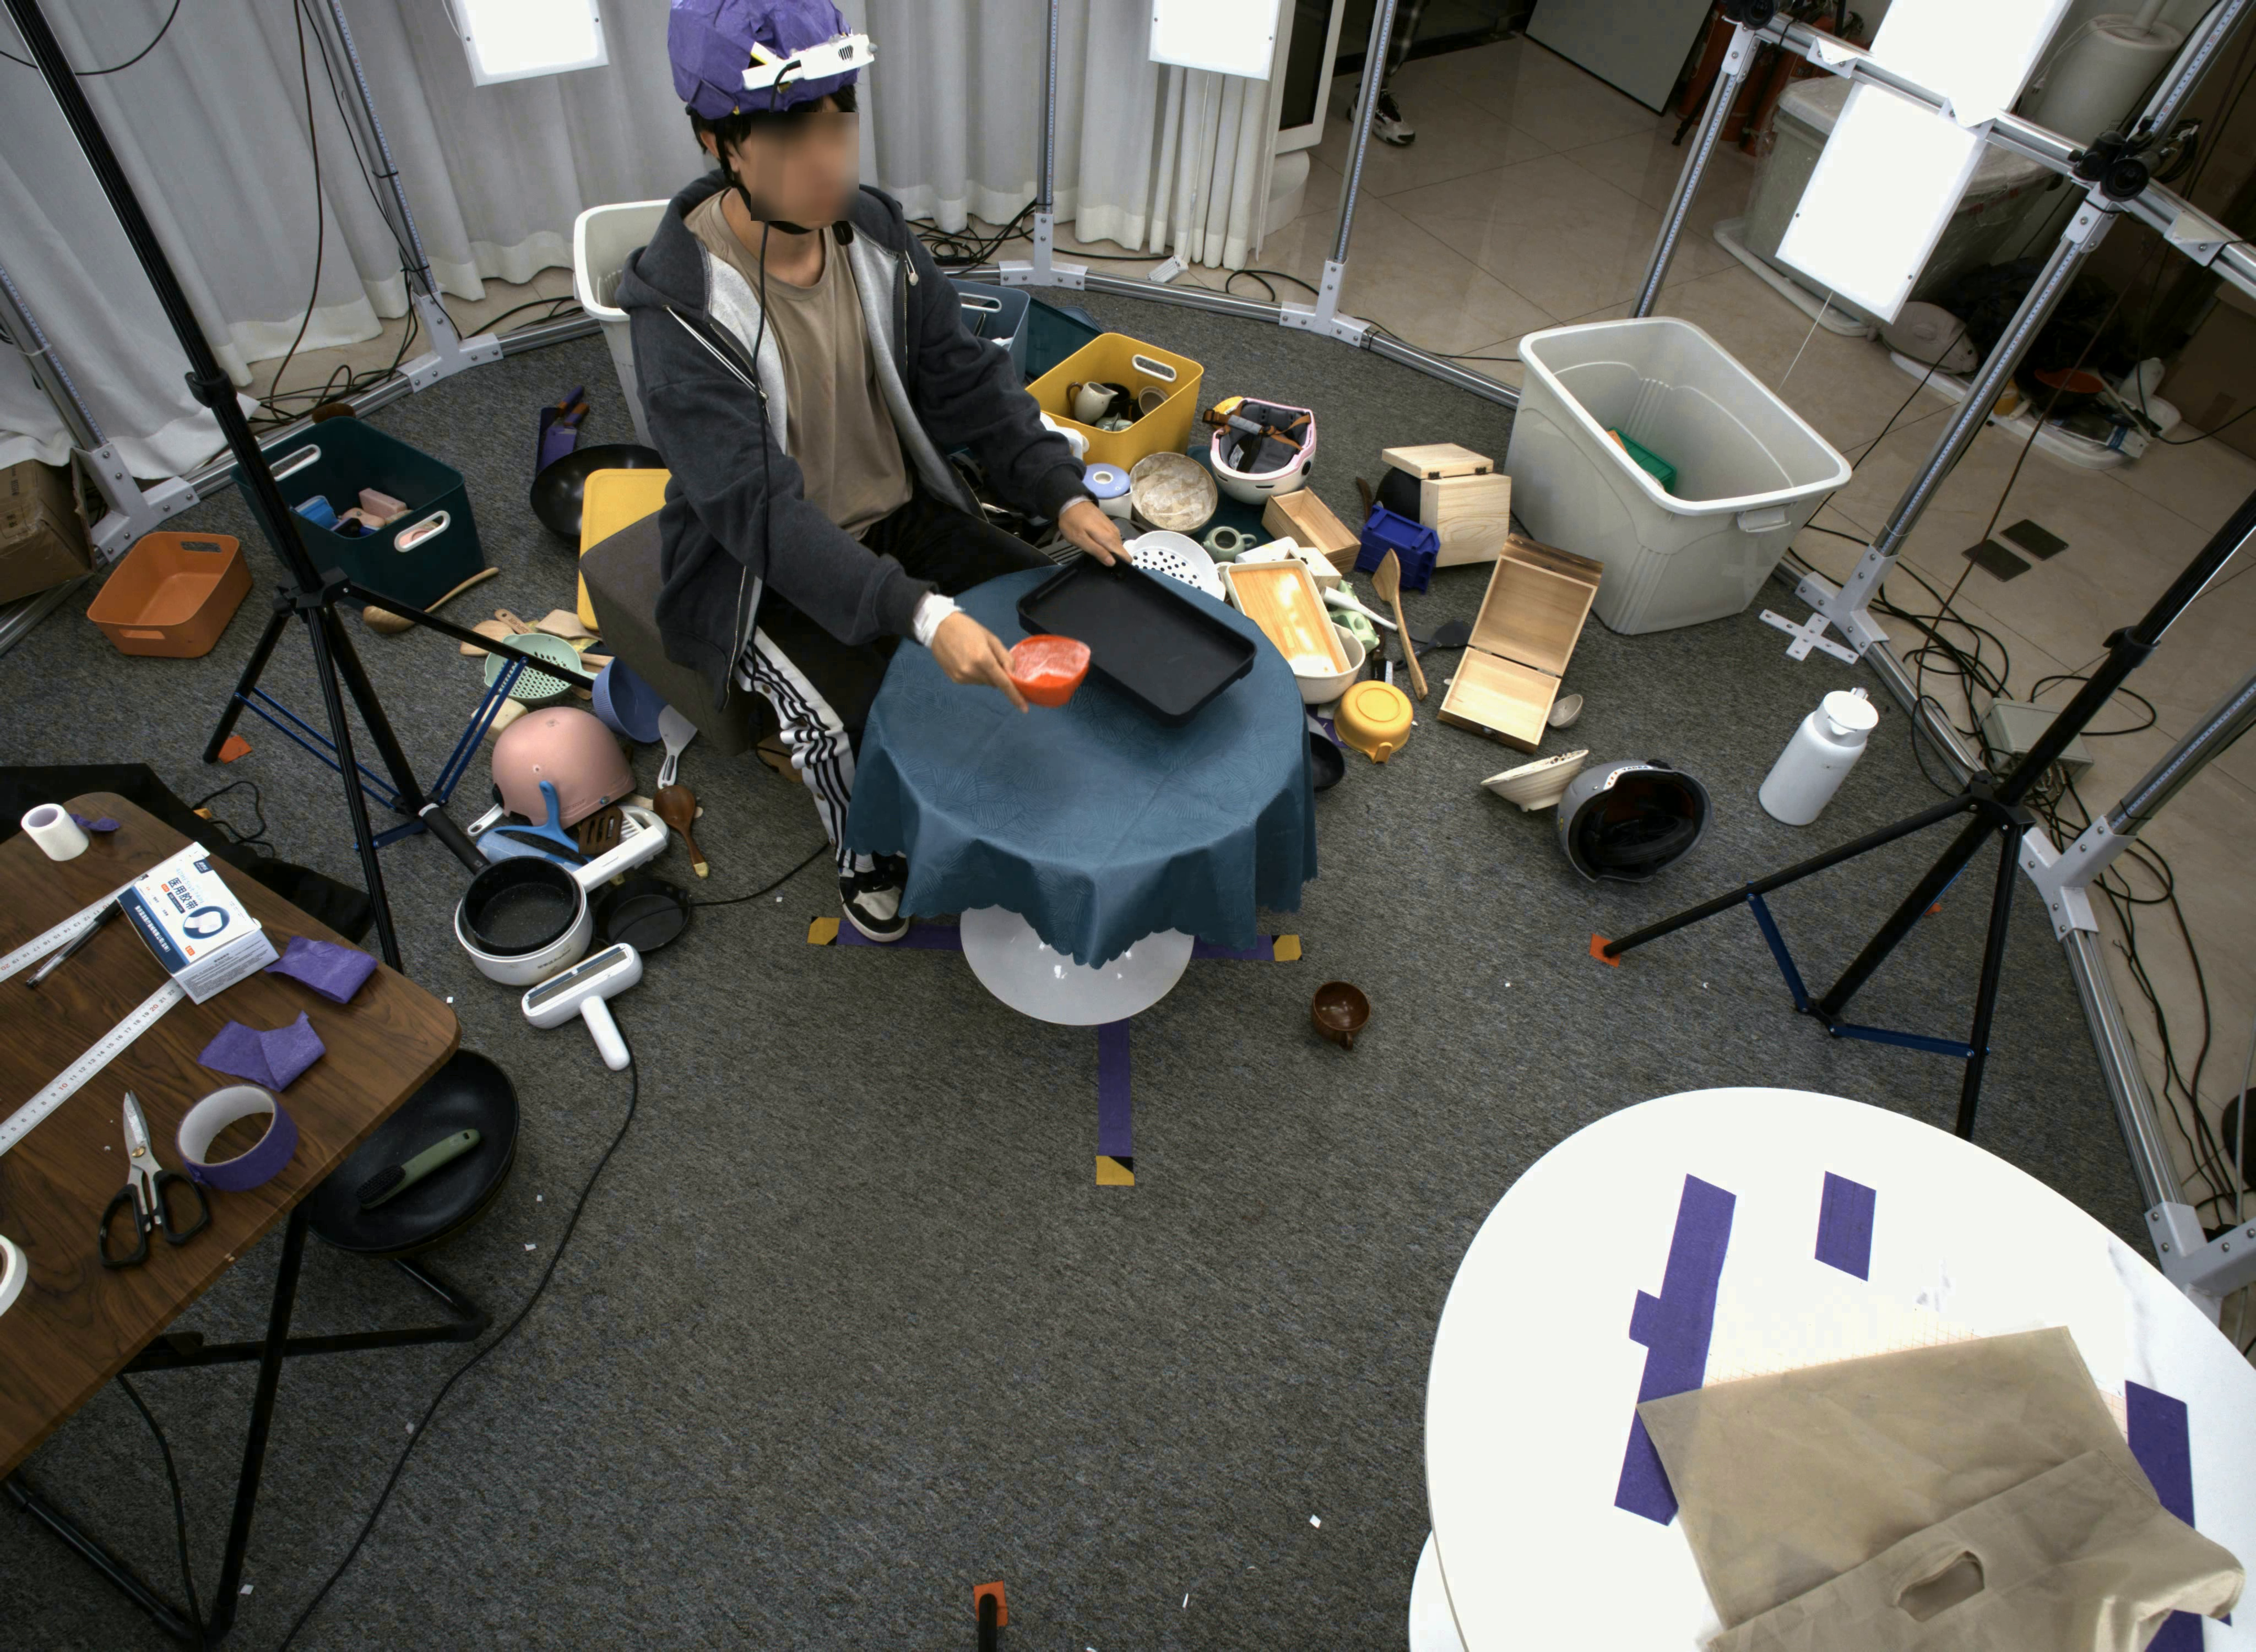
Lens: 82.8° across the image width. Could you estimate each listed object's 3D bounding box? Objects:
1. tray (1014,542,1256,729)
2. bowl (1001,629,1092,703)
[{"bbox_3d":[0.008,-0.274,1.810,0.322,0.036,0.186,37,59,22],"label":"tray"},{"bbox_3d":[-0.104,-0.202,1.661,0.119,0.050,0.122,-1,43,1],"label":"bowl"}]
